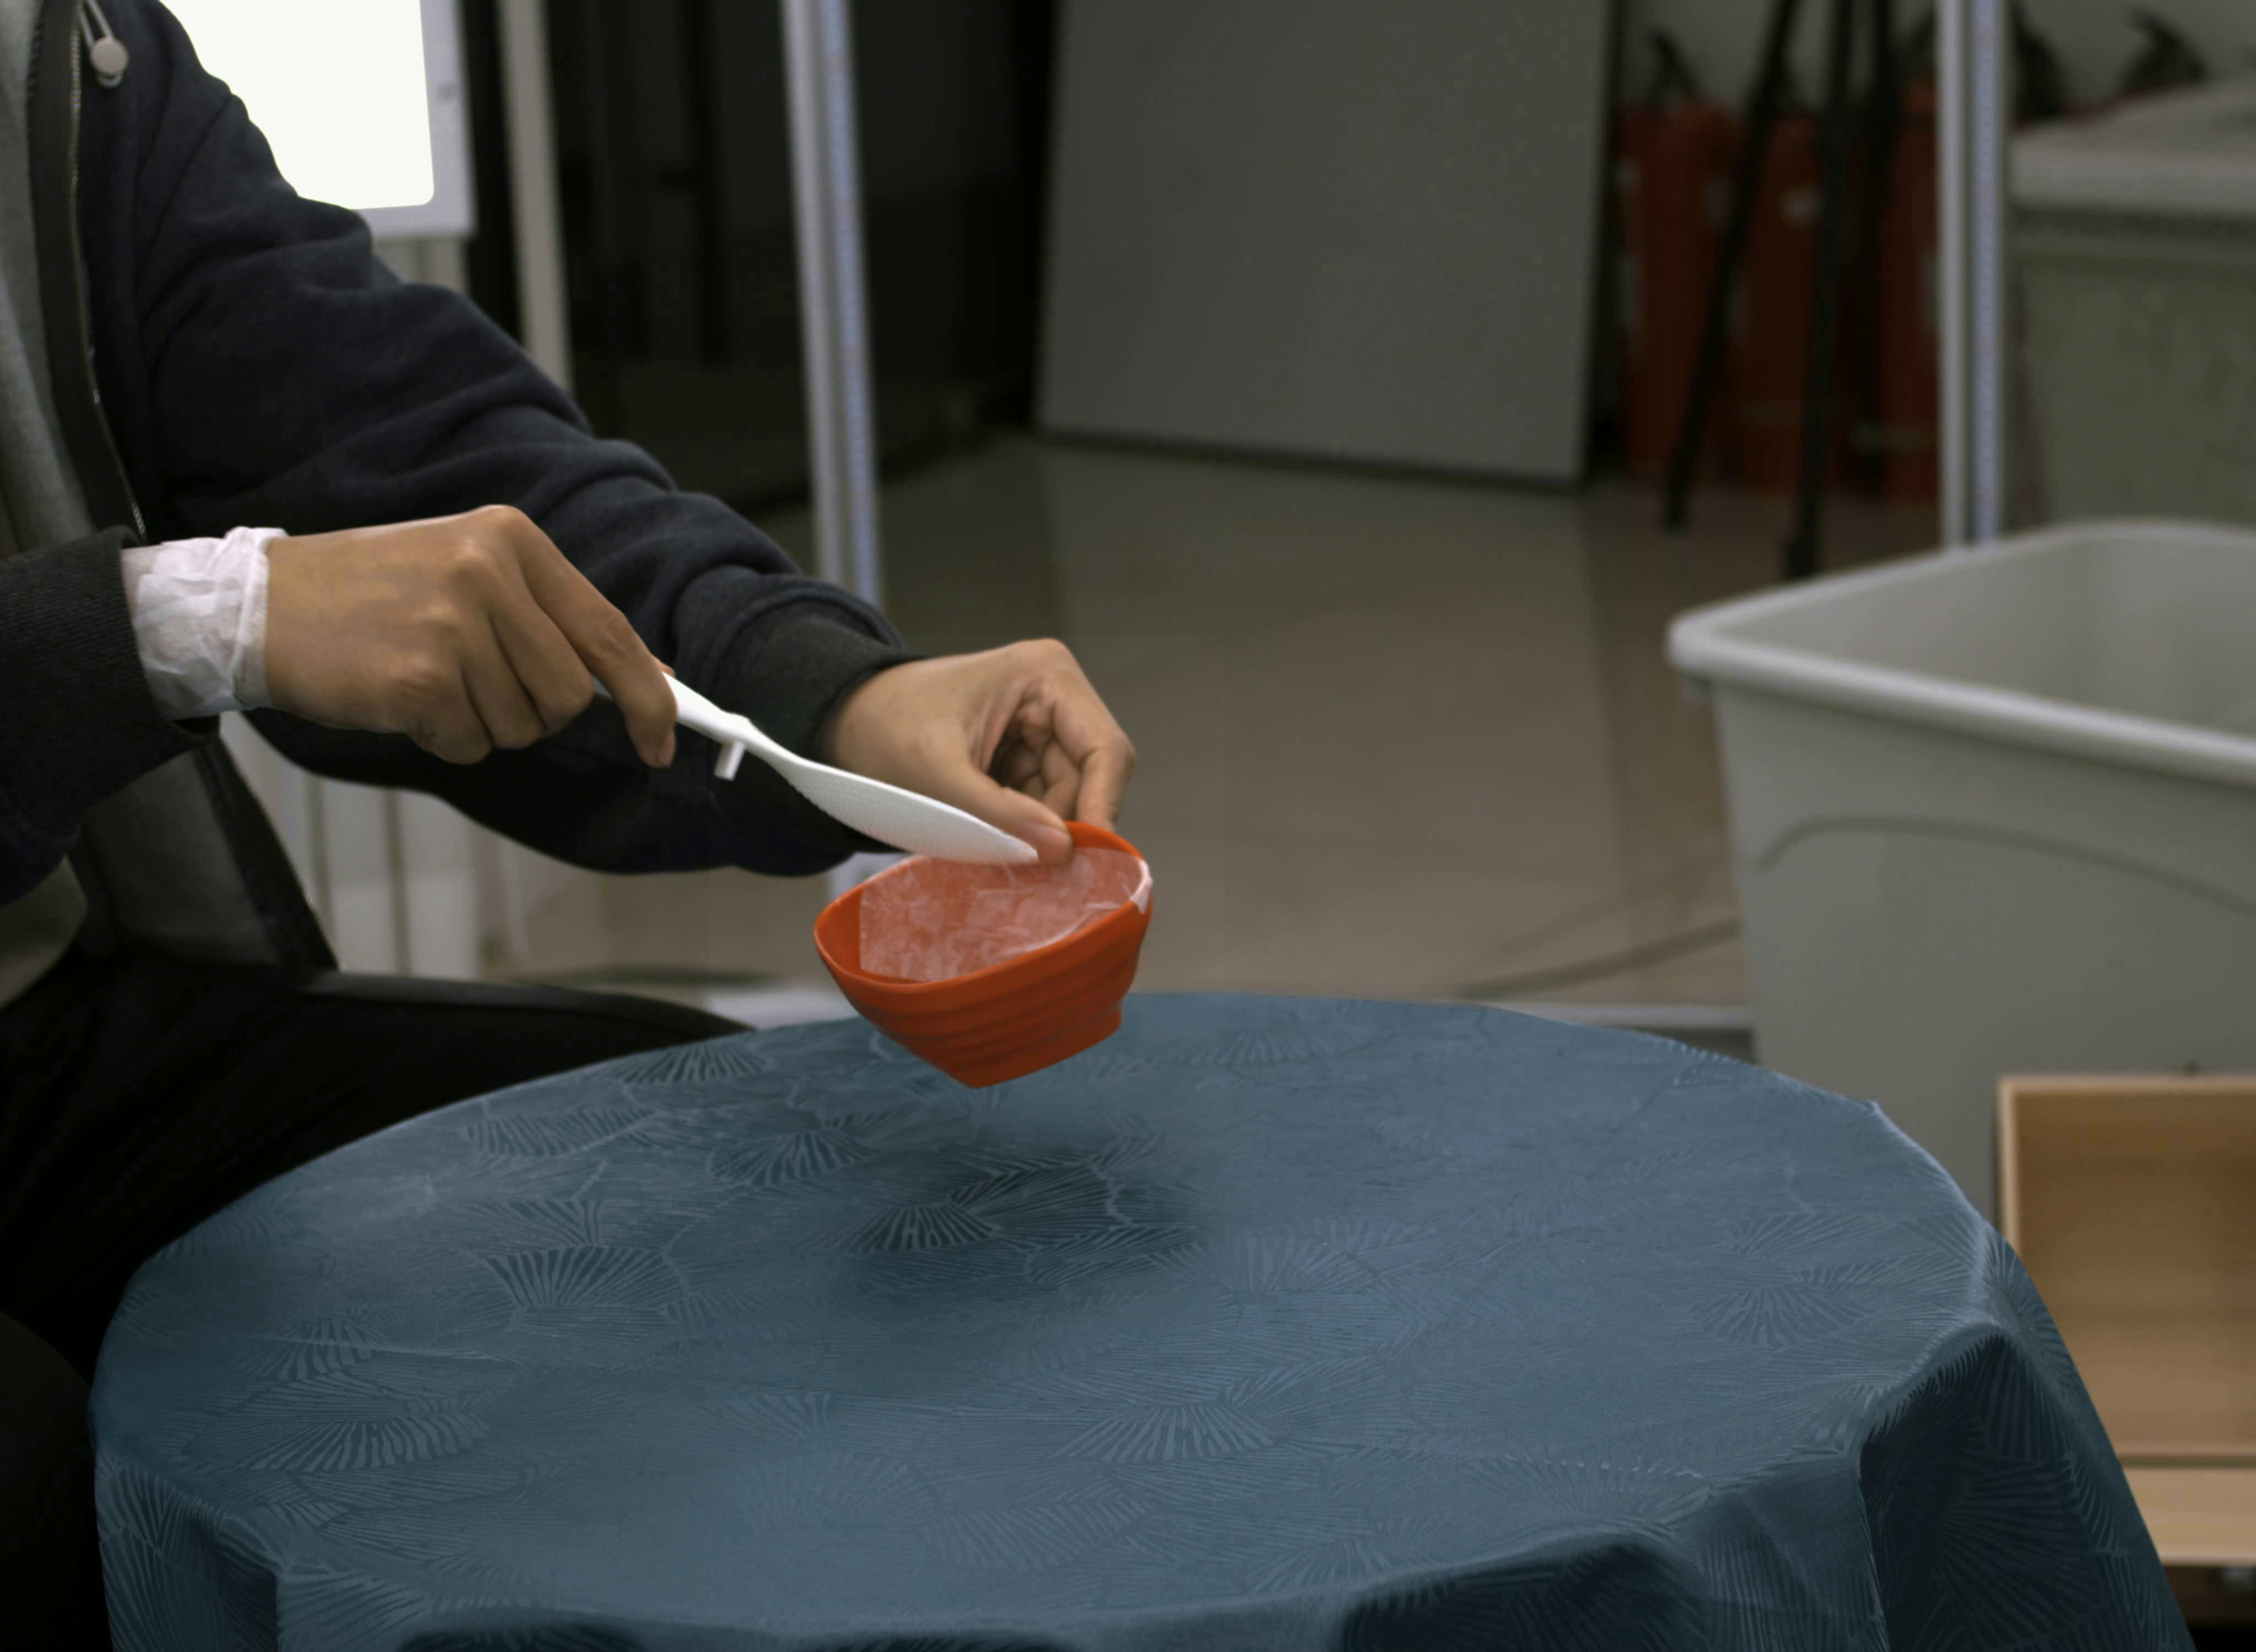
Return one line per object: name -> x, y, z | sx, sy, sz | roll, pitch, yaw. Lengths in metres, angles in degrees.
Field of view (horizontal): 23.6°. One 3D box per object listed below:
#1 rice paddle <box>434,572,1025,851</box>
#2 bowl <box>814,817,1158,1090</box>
rice paddle -> -0.121, -0.031, 1.709 | 0.201, 0.030, 0.069 | 22, -4, -21
bowl -> -0.042, 0.045, 1.763 | 0.118, 0.051, 0.119 | -13, 23, 5
